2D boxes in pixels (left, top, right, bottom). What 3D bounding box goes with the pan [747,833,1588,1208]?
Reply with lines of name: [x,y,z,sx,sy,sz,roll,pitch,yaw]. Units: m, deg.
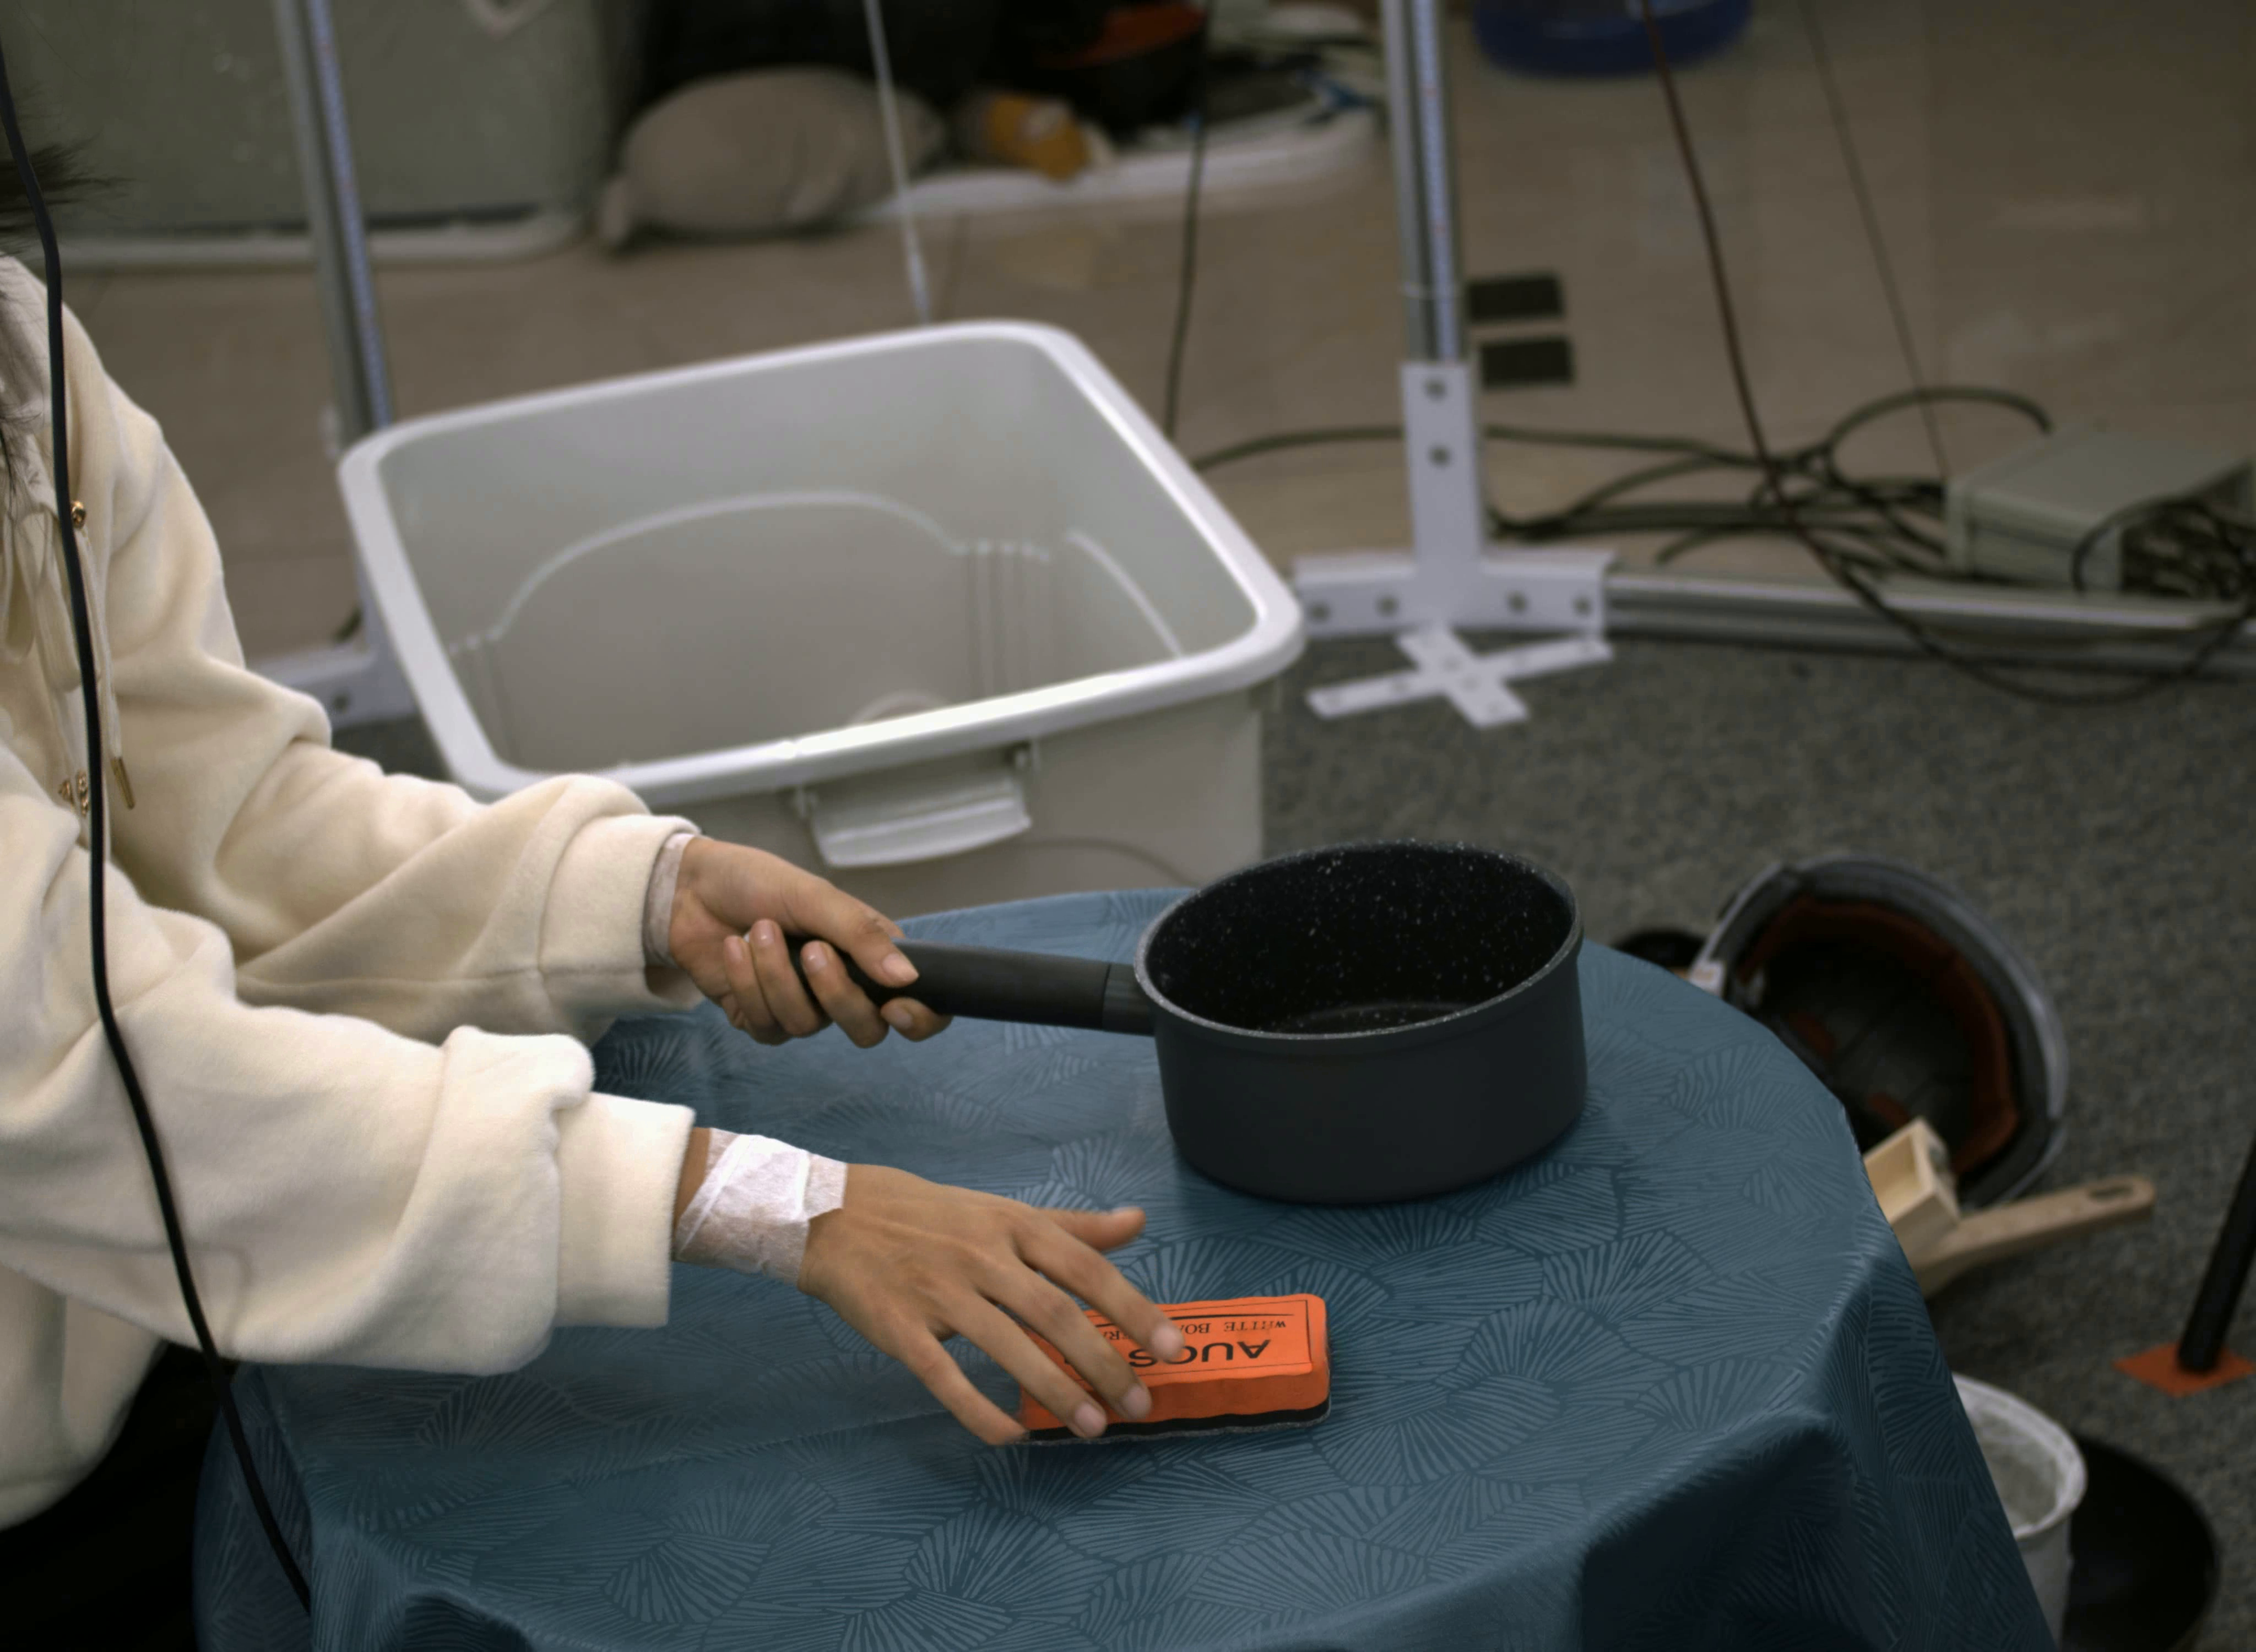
pan: [0.015,0.074,2.185,0.328,0.088,0.169,0,26,13]

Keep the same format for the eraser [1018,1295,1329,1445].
eraser: [0.016,0.192,2.003,0.108,0.023,0.058,-4,27,6]
